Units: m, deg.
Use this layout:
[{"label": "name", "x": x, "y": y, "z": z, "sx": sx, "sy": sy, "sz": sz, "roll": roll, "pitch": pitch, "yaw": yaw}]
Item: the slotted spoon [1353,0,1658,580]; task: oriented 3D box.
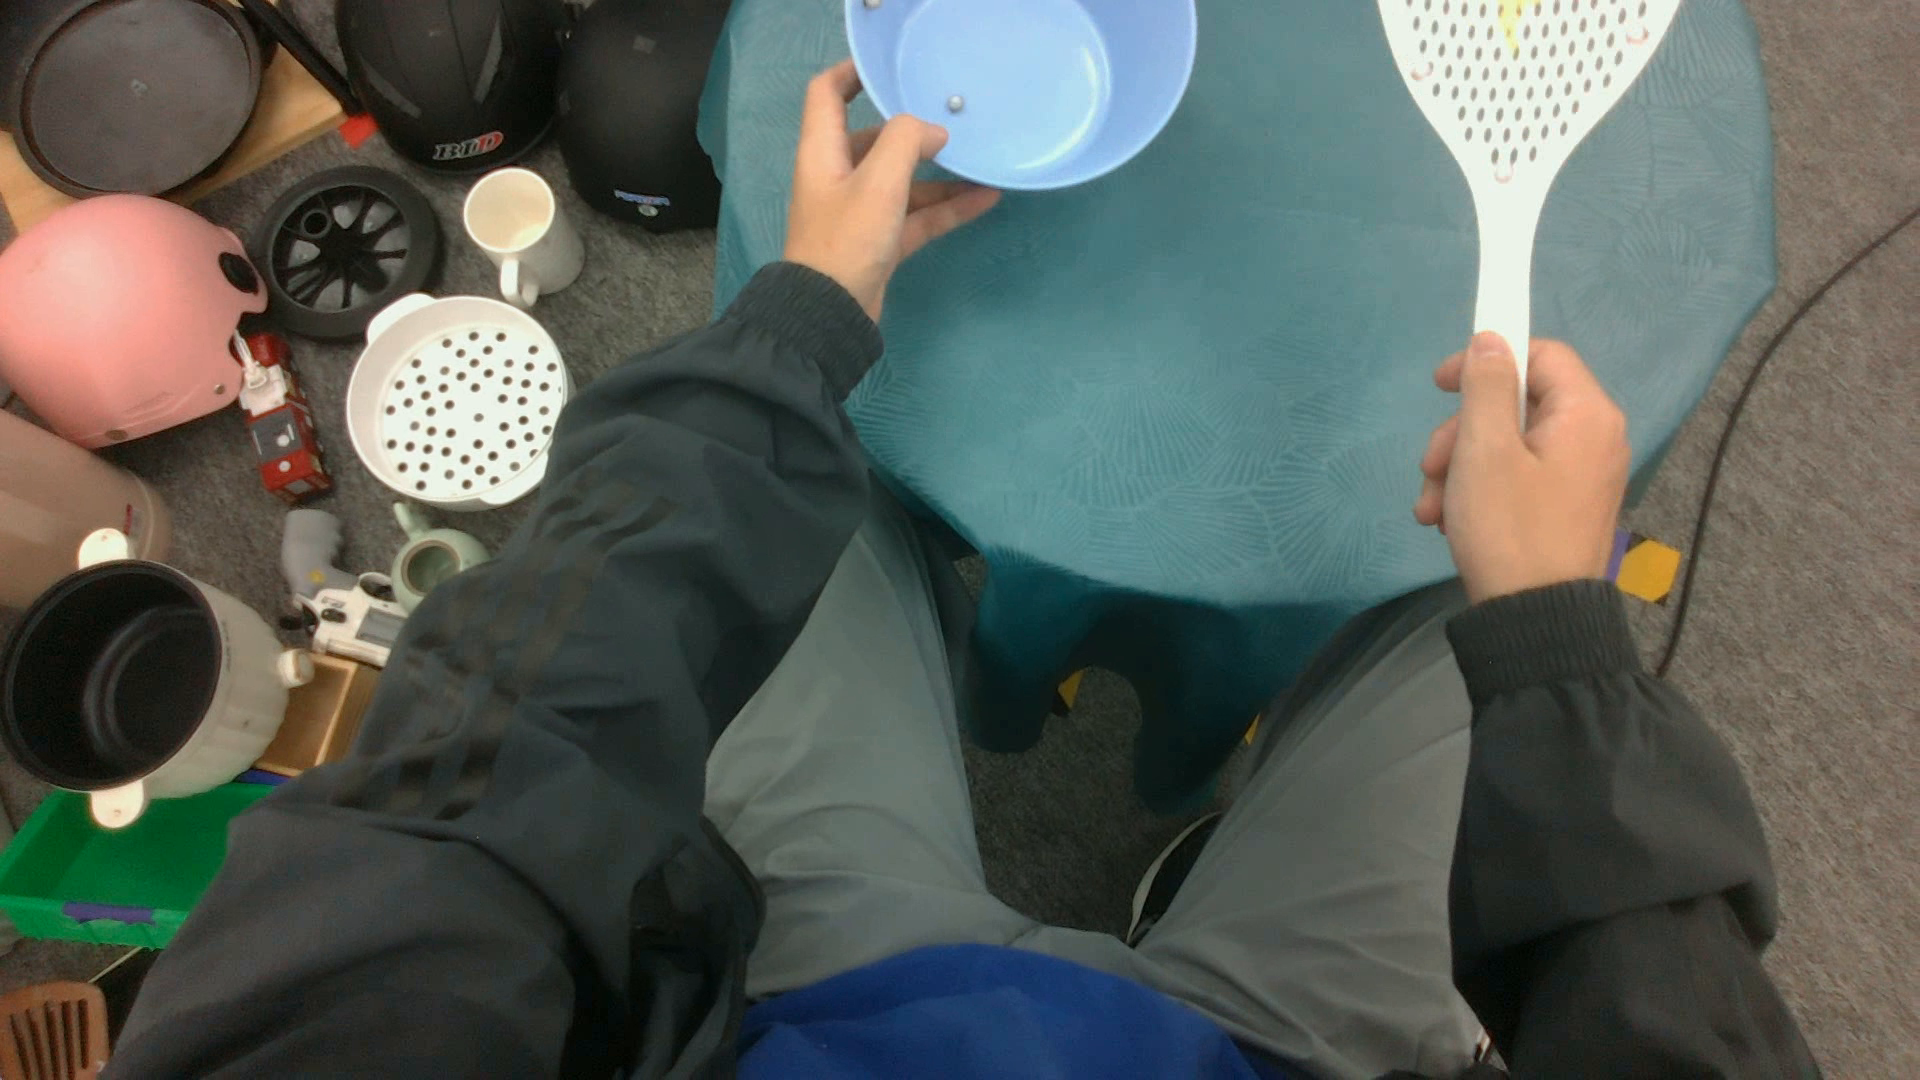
[{"label": "slotted spoon", "x": 0.244, "y": -0.157, "z": 0.624, "sx": 0.136, "sy": 0.050, "sz": 0.348, "roll": 2, "pitch": 81, "yaw": 21}]

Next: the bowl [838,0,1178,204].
[{"label": "bowl", "x": 0.022, "y": -0.252, "z": 0.732, "sx": 0.176, "sy": 0.070, "sz": 0.176, "roll": 1, "pitch": 82, "yaw": -7}]
